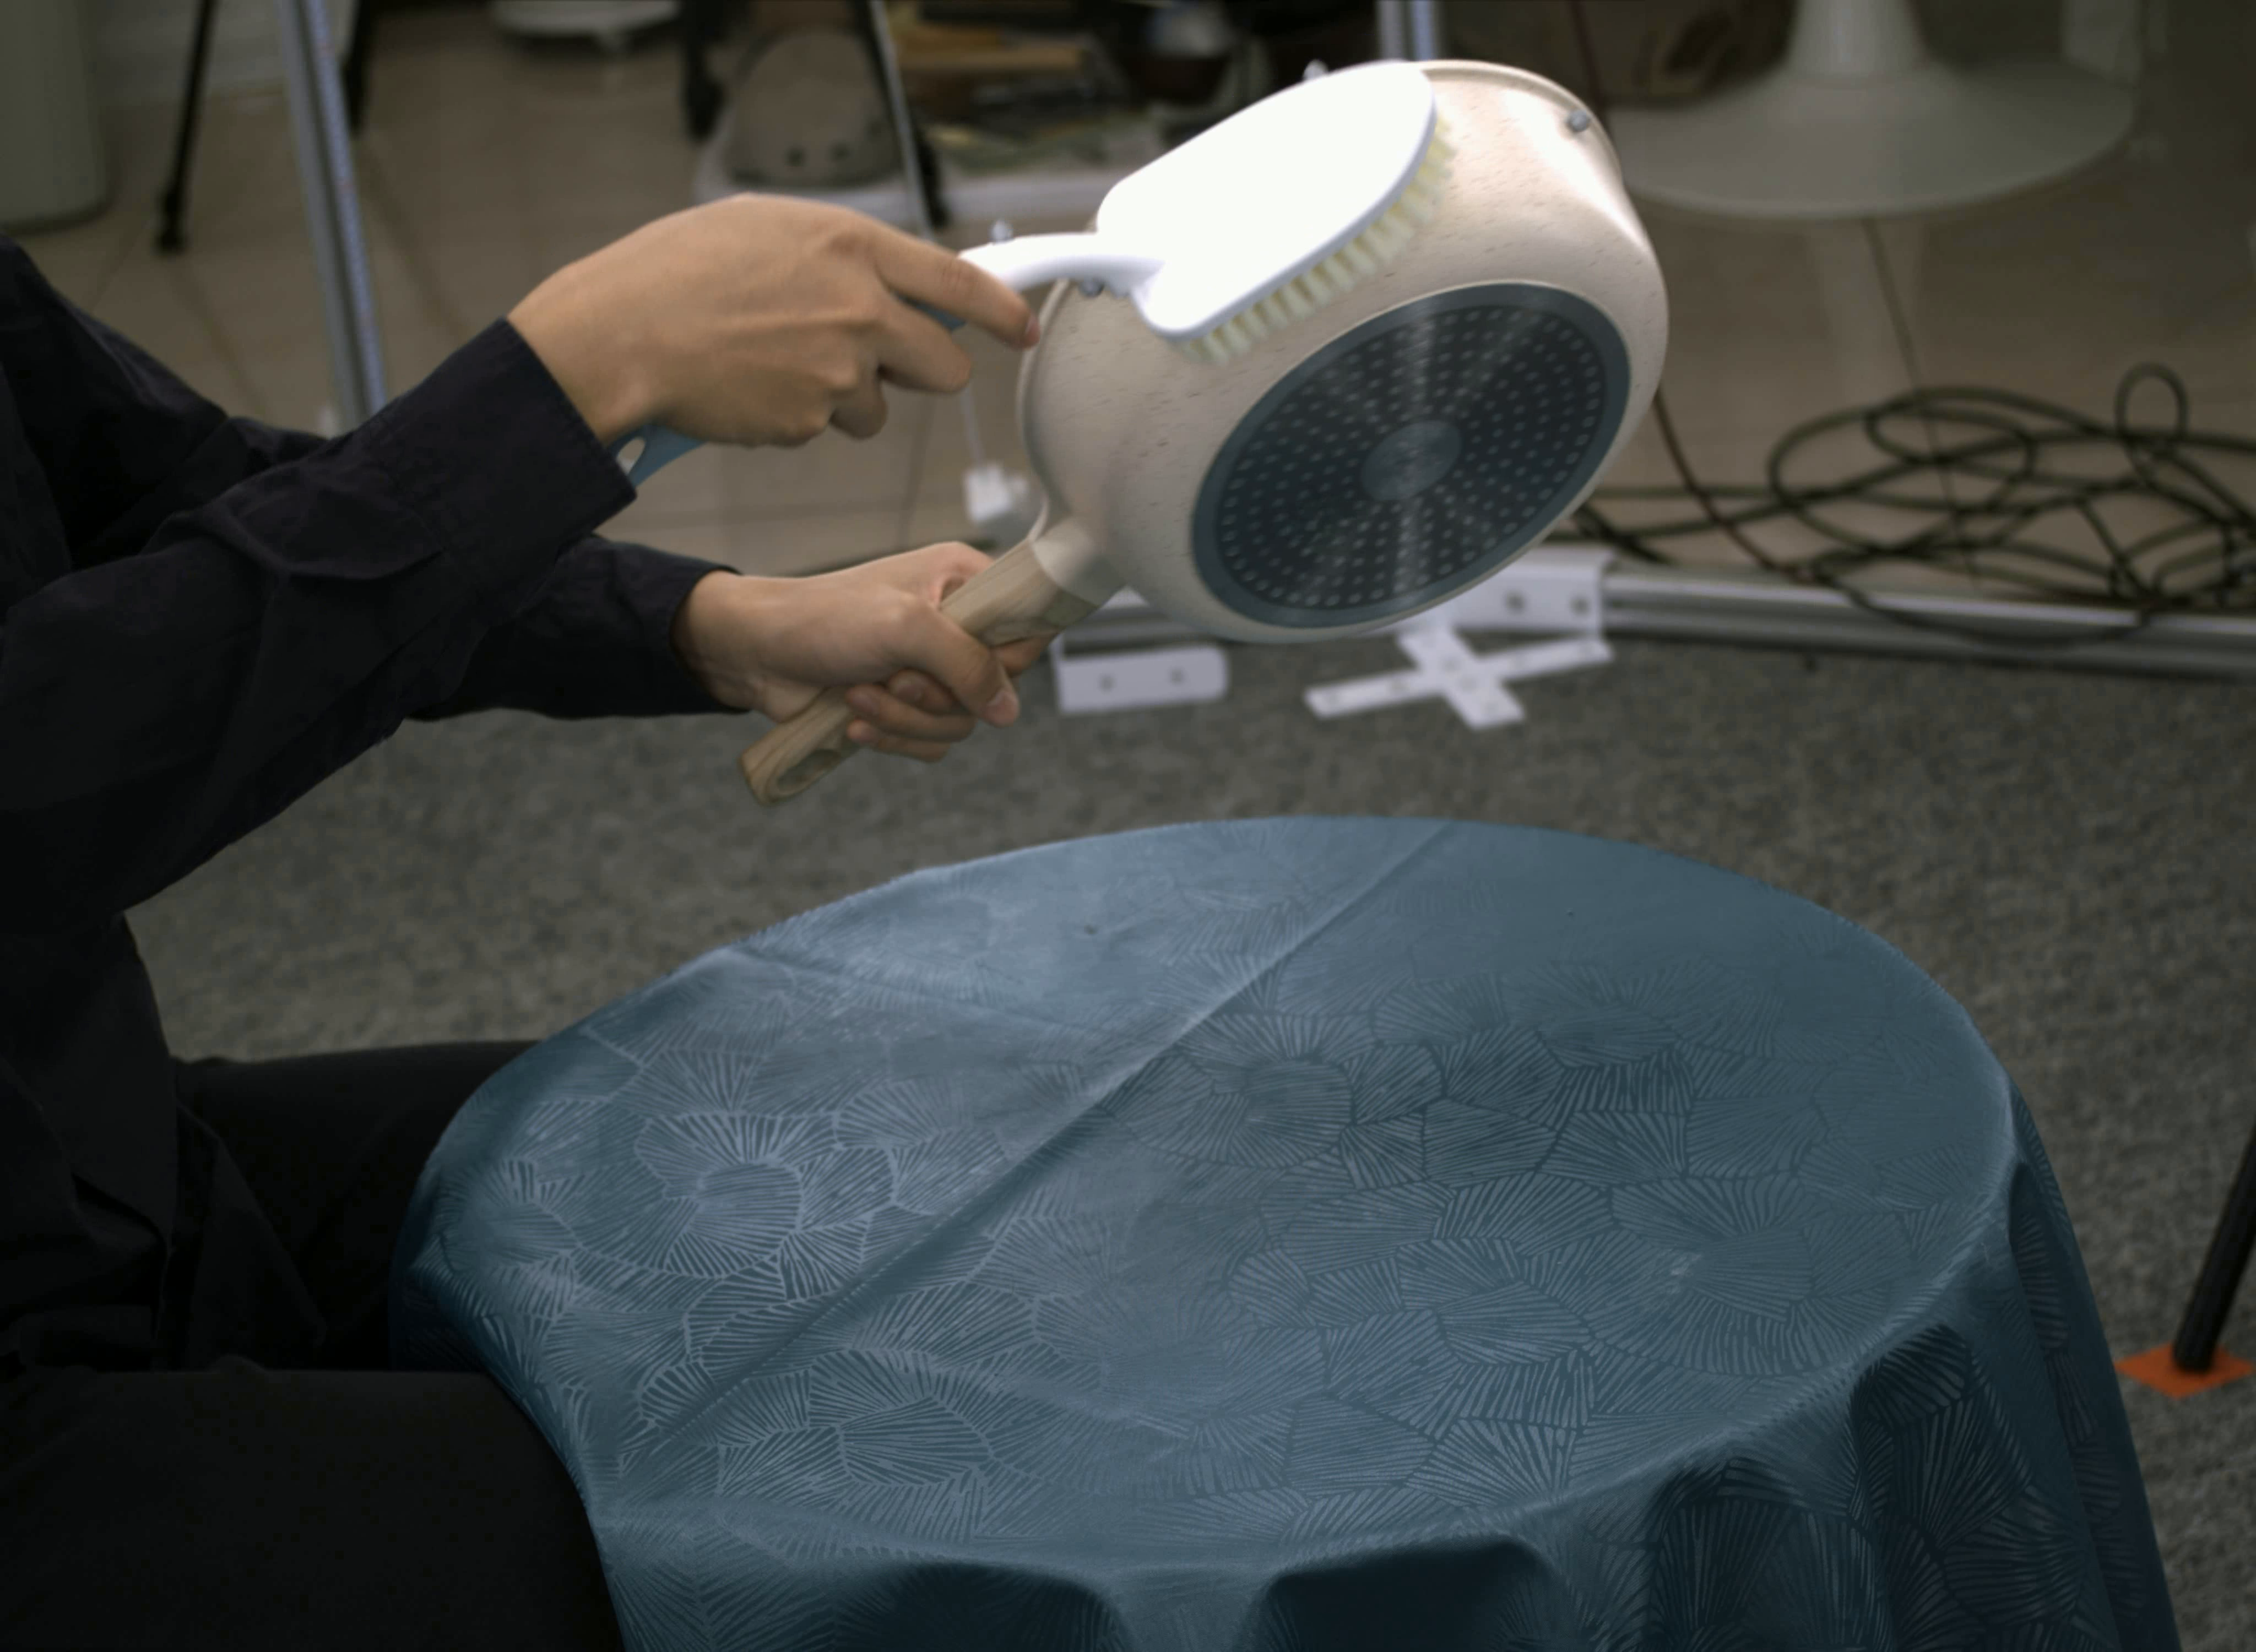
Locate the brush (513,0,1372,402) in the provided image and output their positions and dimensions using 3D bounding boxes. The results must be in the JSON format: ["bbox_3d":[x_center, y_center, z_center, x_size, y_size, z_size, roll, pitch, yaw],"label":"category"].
[{"bbox_3d":[-0.065,-0.214,2.002,0.325,0.086,0.082,-25,30,-3],"label":"brush"}]

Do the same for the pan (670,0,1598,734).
[{"bbox_3d":[-0.004,-0.144,2.172,0.265,0.438,0.100,20,36,-51],"label":"pan"}]
